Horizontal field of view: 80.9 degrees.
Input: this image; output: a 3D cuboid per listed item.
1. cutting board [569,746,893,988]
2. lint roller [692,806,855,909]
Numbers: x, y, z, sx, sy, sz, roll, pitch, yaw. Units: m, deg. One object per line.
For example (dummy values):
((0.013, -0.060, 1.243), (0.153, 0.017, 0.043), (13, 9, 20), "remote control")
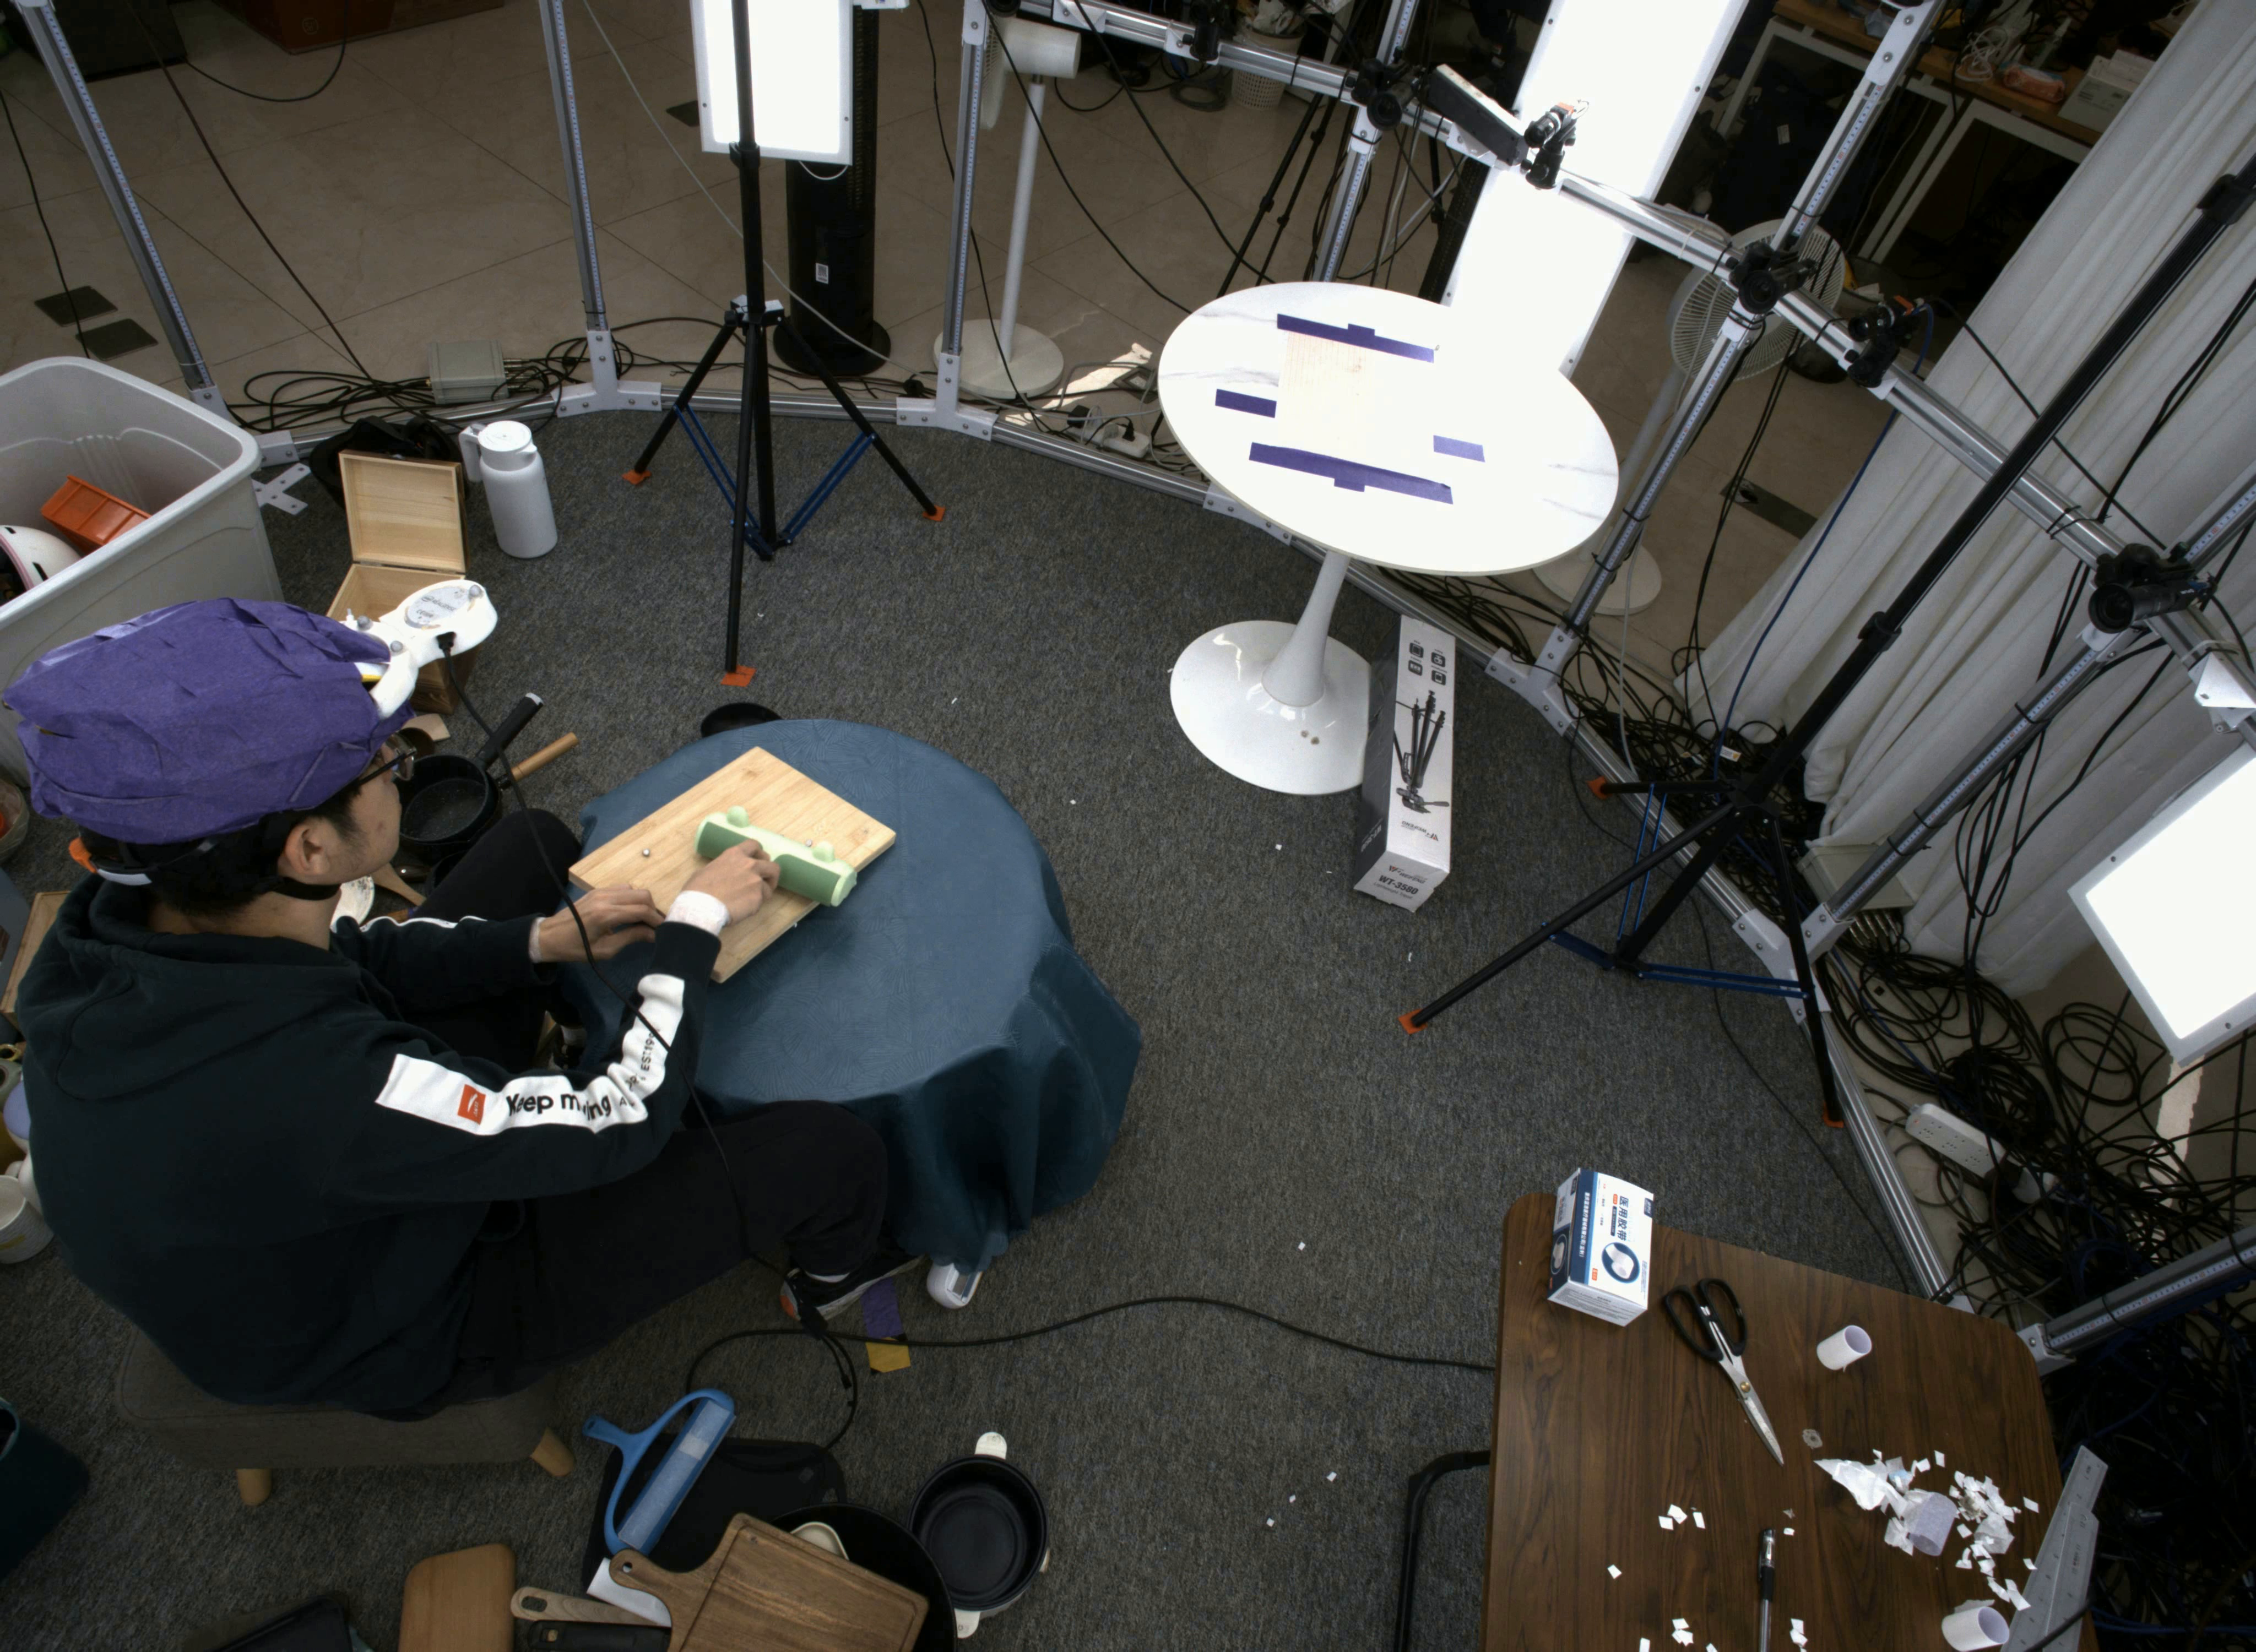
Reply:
((-0.493, 0.038, 1.627), (0.246, 0.024, 0.348), (31, 40, 10), "cutting board")
((-0.441, 0.041, 1.538), (0.197, 0.083, 0.182), (22, 11, 2), "lint roller")
